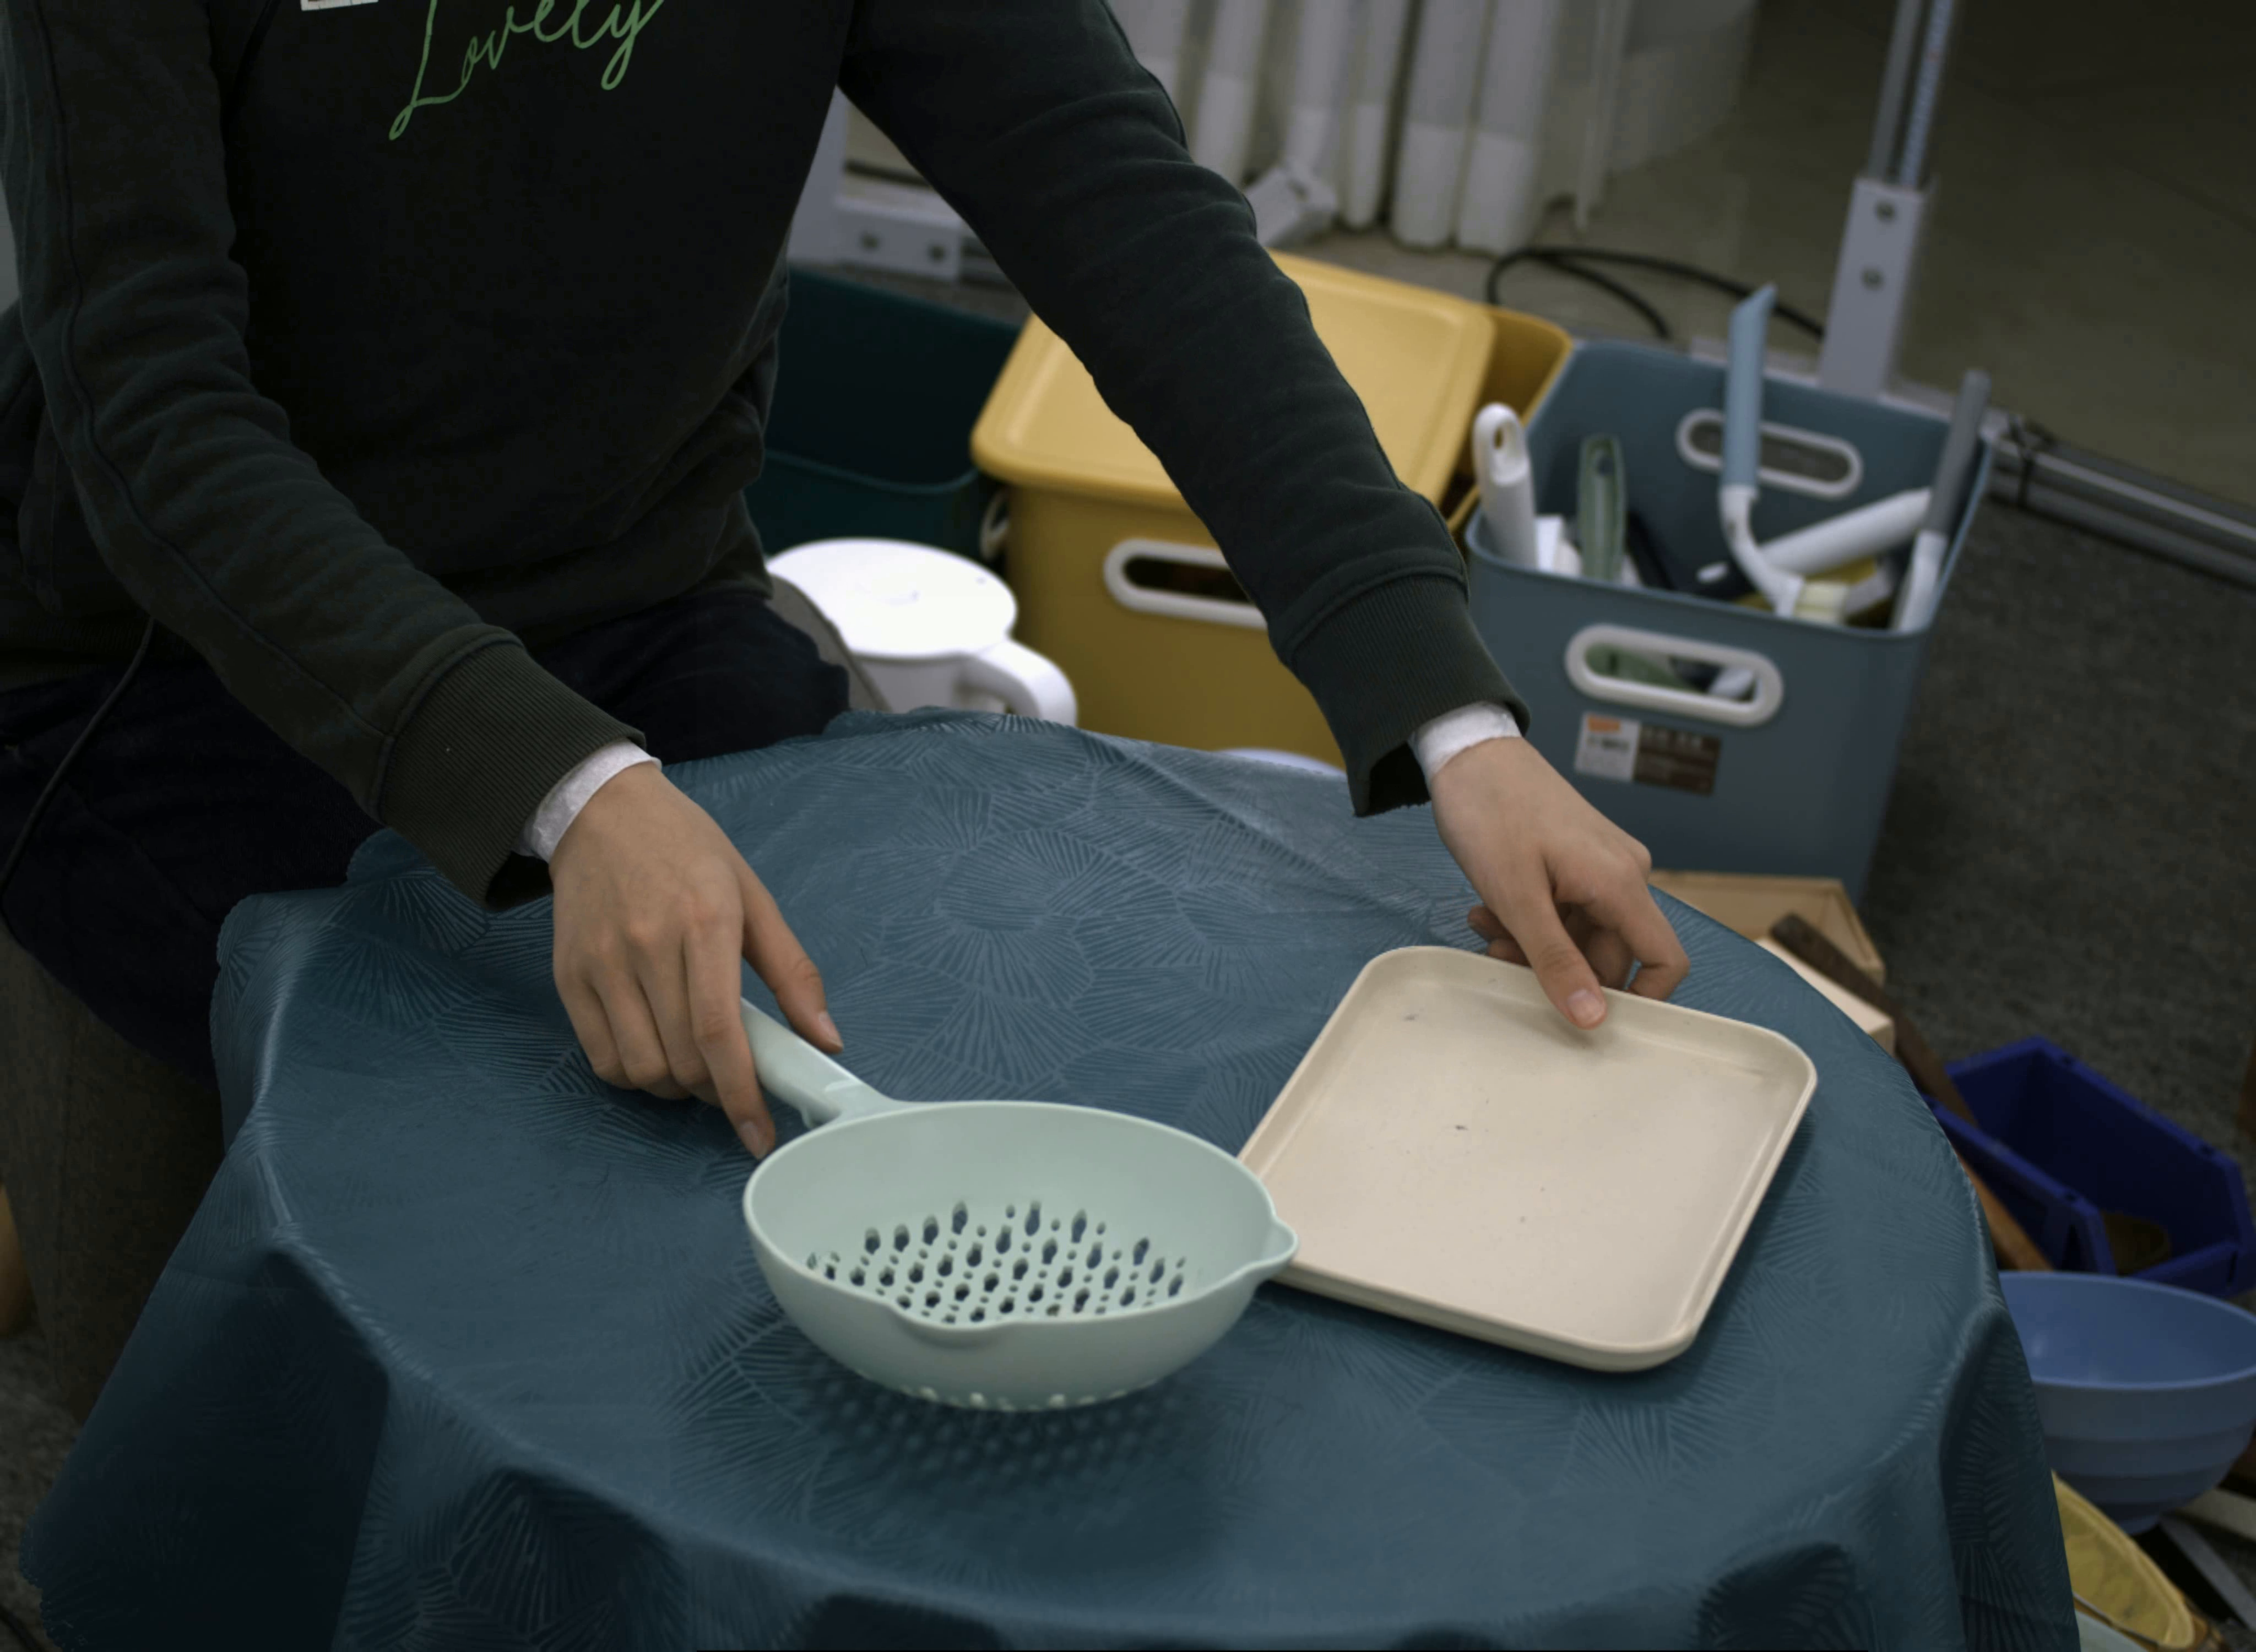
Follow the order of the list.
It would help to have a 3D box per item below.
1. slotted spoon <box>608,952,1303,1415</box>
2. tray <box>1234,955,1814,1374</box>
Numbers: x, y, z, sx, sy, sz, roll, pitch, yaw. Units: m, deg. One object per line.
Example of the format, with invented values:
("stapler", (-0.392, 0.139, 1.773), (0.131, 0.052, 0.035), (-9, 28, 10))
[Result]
("slotted spoon", (-0.088, 0.102, 1.754), (0.168, 0.075, 0.362), (-9, 30, -30))
("tray", (0.135, 0.115, 1.830), (0.171, 0.017, 0.240), (14, 27, 14))
